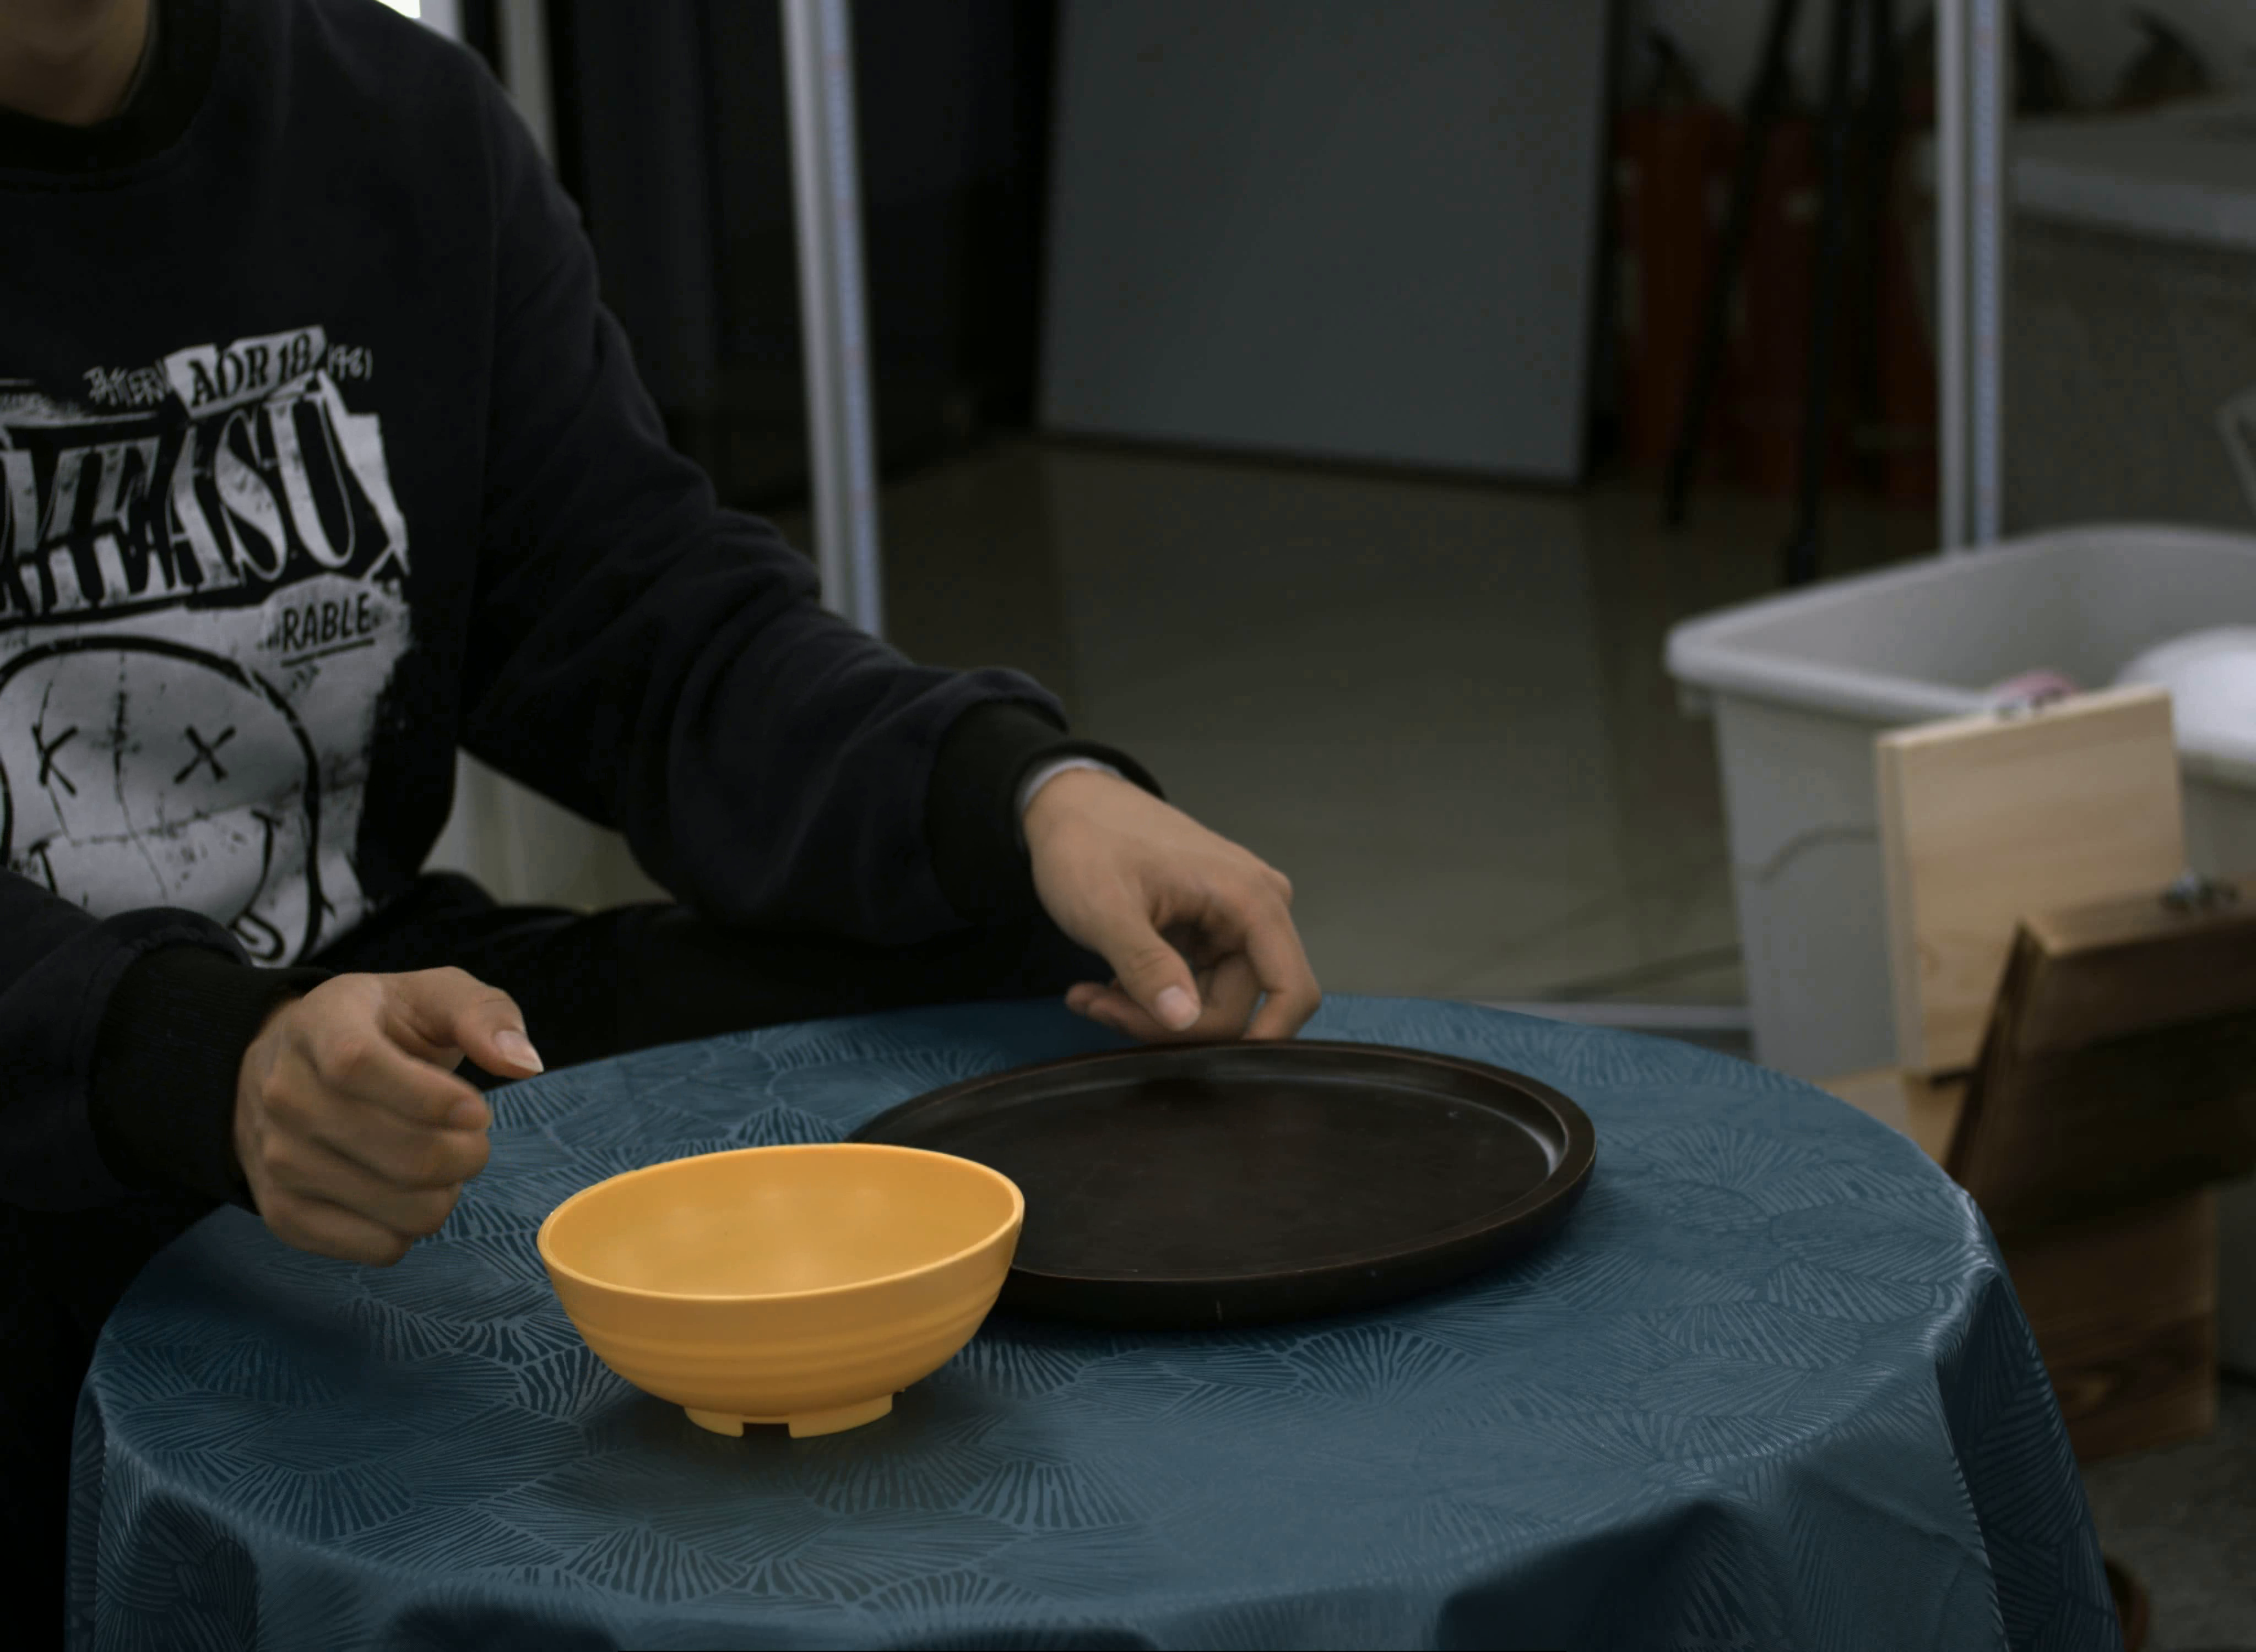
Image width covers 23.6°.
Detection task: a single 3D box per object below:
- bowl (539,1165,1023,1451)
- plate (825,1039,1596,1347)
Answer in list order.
[{"bbox_3d":[-0.100,0.145,1.589,0.143,0.061,0.145,-4,11,0],"label":"bowl"},{"bbox_3d":[0.027,0.116,1.740,0.251,0.029,0.255,-6,15,1],"label":"plate"}]
